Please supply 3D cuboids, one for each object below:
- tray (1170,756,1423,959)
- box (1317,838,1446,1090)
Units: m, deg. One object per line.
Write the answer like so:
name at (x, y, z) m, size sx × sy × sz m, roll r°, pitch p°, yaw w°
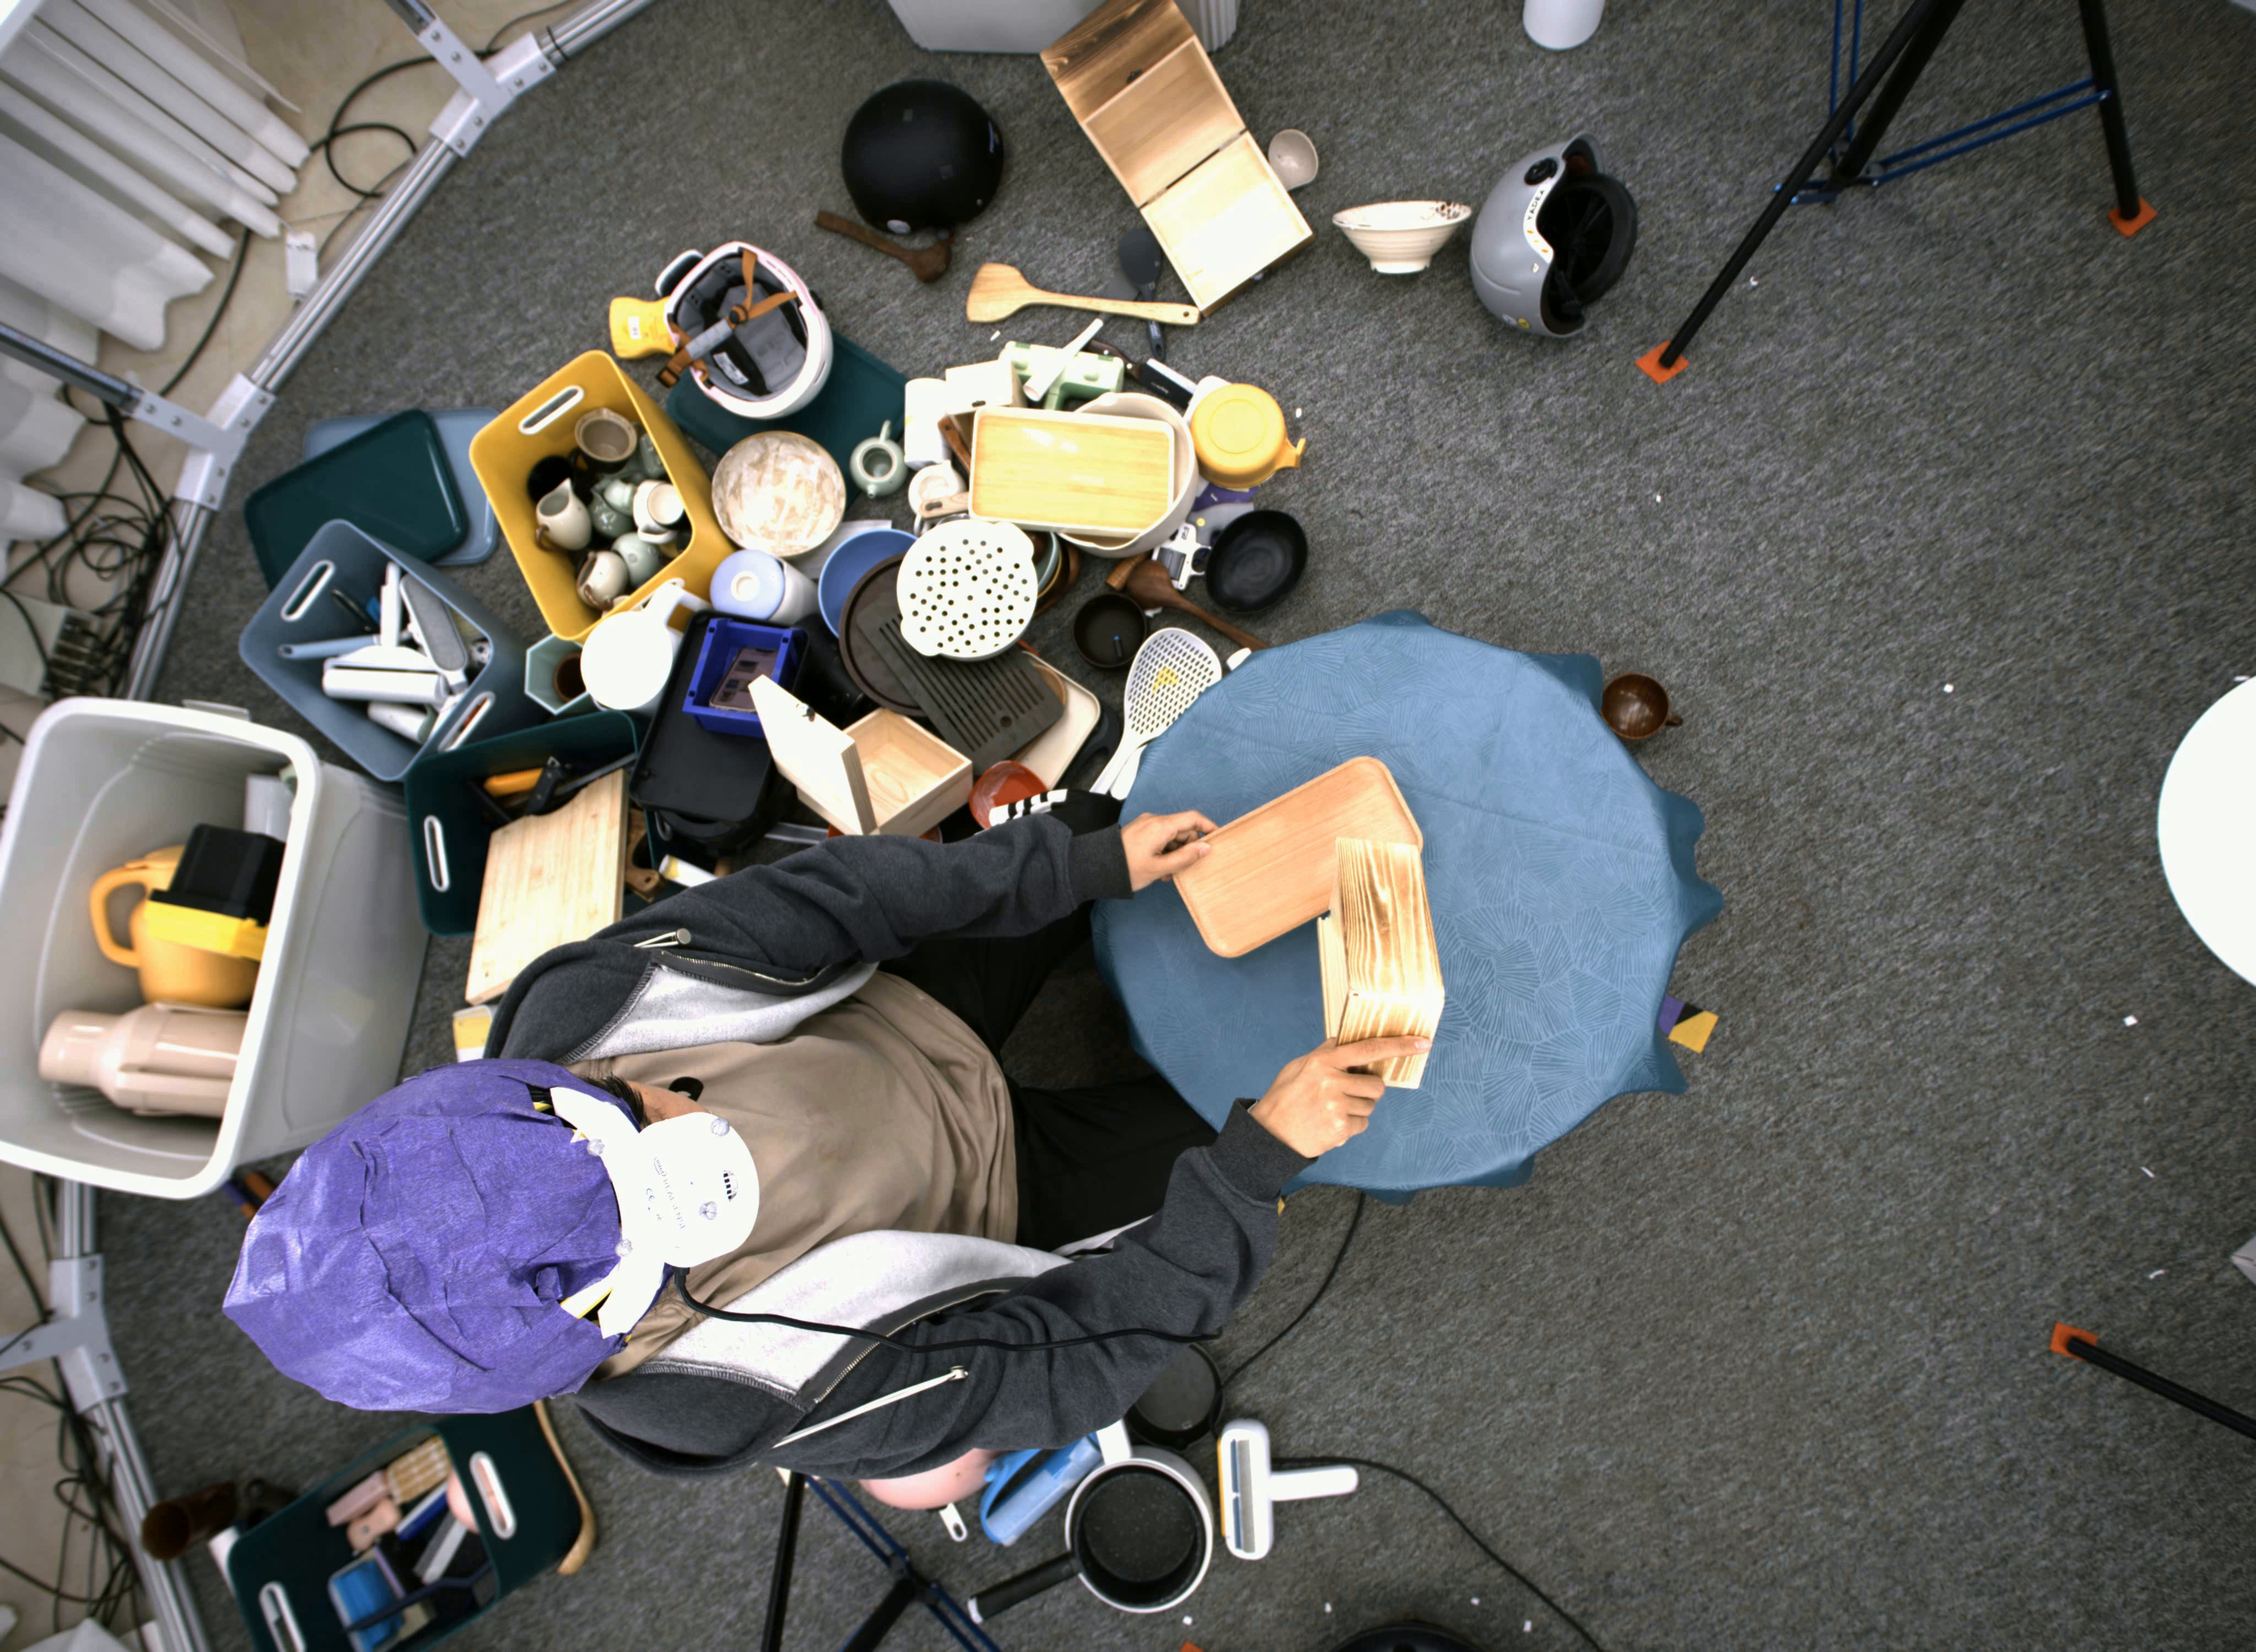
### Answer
tray at (0.174, 0.031, 1.425) m, size 0.251 × 0.023 × 0.130 m, roll -27°, pitch 90°, yaw 2°
box at (0.221, 0.118, 1.235) m, size 0.080 × 0.206 × 0.110 m, roll 7°, pitch 128°, yaw -1°
